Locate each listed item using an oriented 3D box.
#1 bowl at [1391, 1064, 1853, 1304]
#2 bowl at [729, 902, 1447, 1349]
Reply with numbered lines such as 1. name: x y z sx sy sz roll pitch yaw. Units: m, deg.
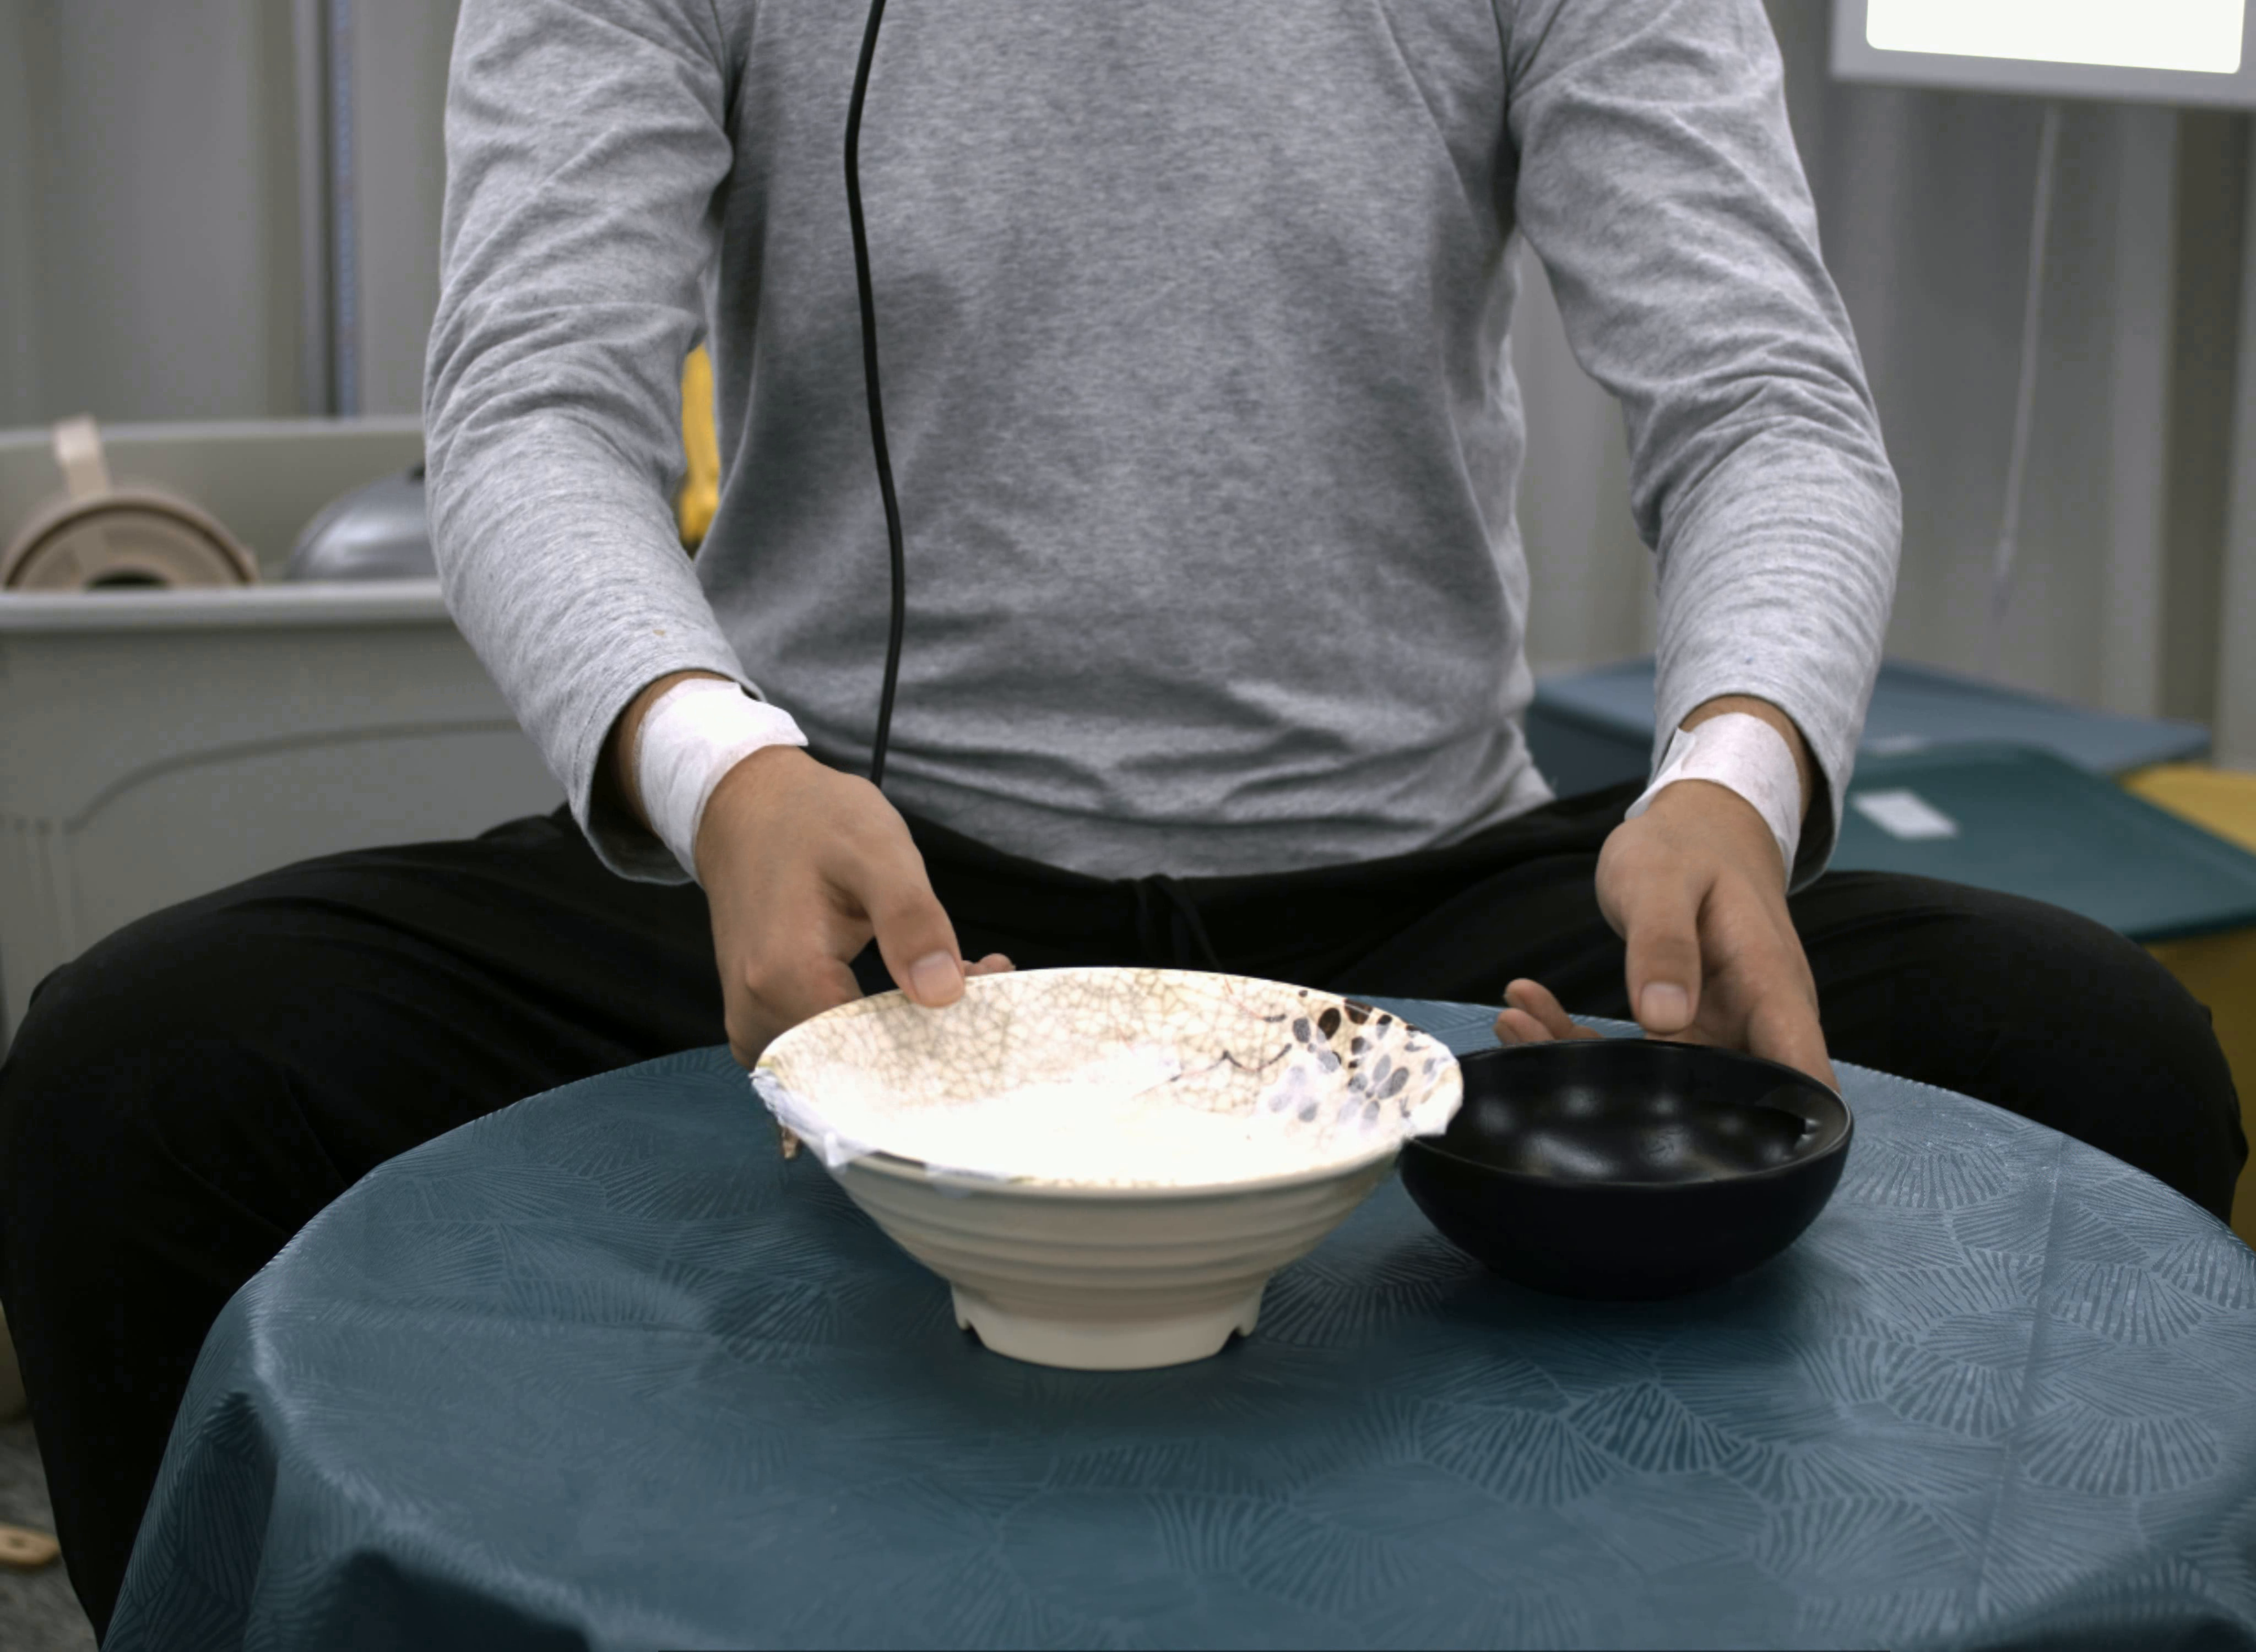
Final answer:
1. bowl: 0.144 0.109 1.562 0.139 0.050 0.139 2 10 0
2. bowl: -0.013 0.095 1.499 0.203 0.078 0.202 4 21 -1
